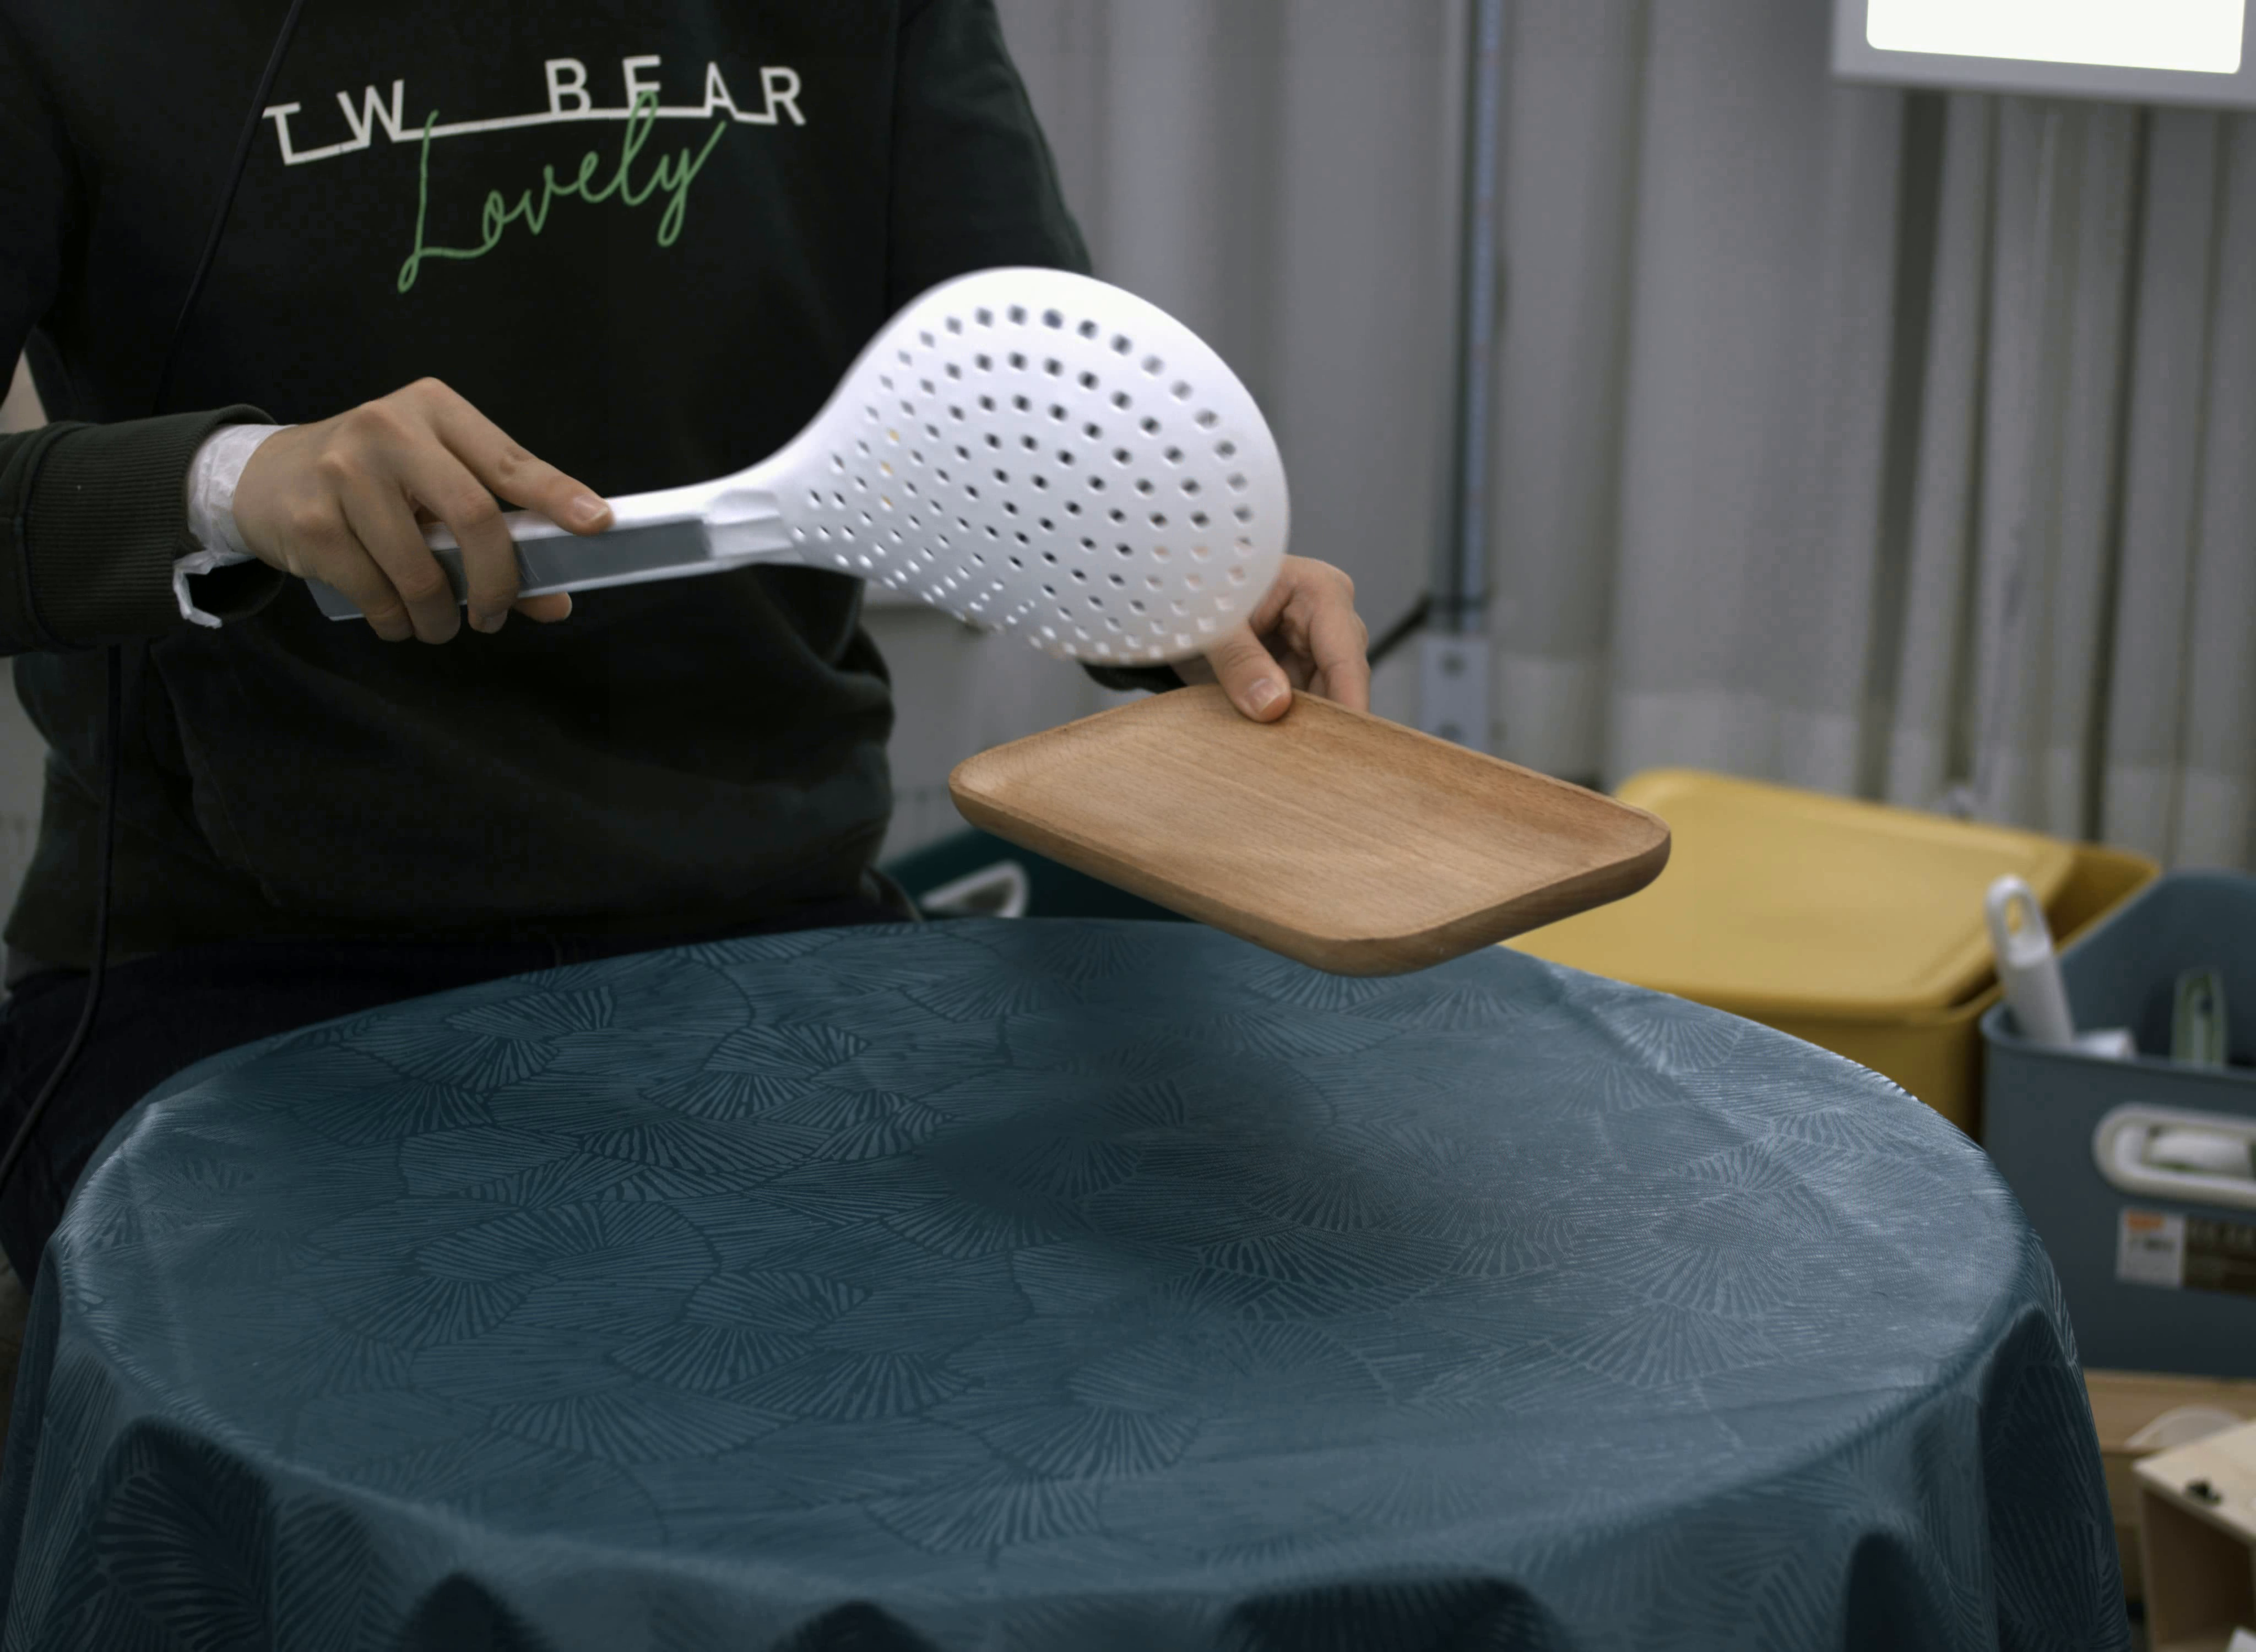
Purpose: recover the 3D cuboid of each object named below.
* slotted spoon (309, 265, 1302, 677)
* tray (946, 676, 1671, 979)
[{"bbox_3d":[-0.108,-0.093,1.606,0.346,0.137,0.045,-2,30,33],"label":"slotted spoon"},{"bbox_3d":[0.051,-0.002,1.611,0.131,0.023,0.247,-16,20,-29],"label":"tray"}]
